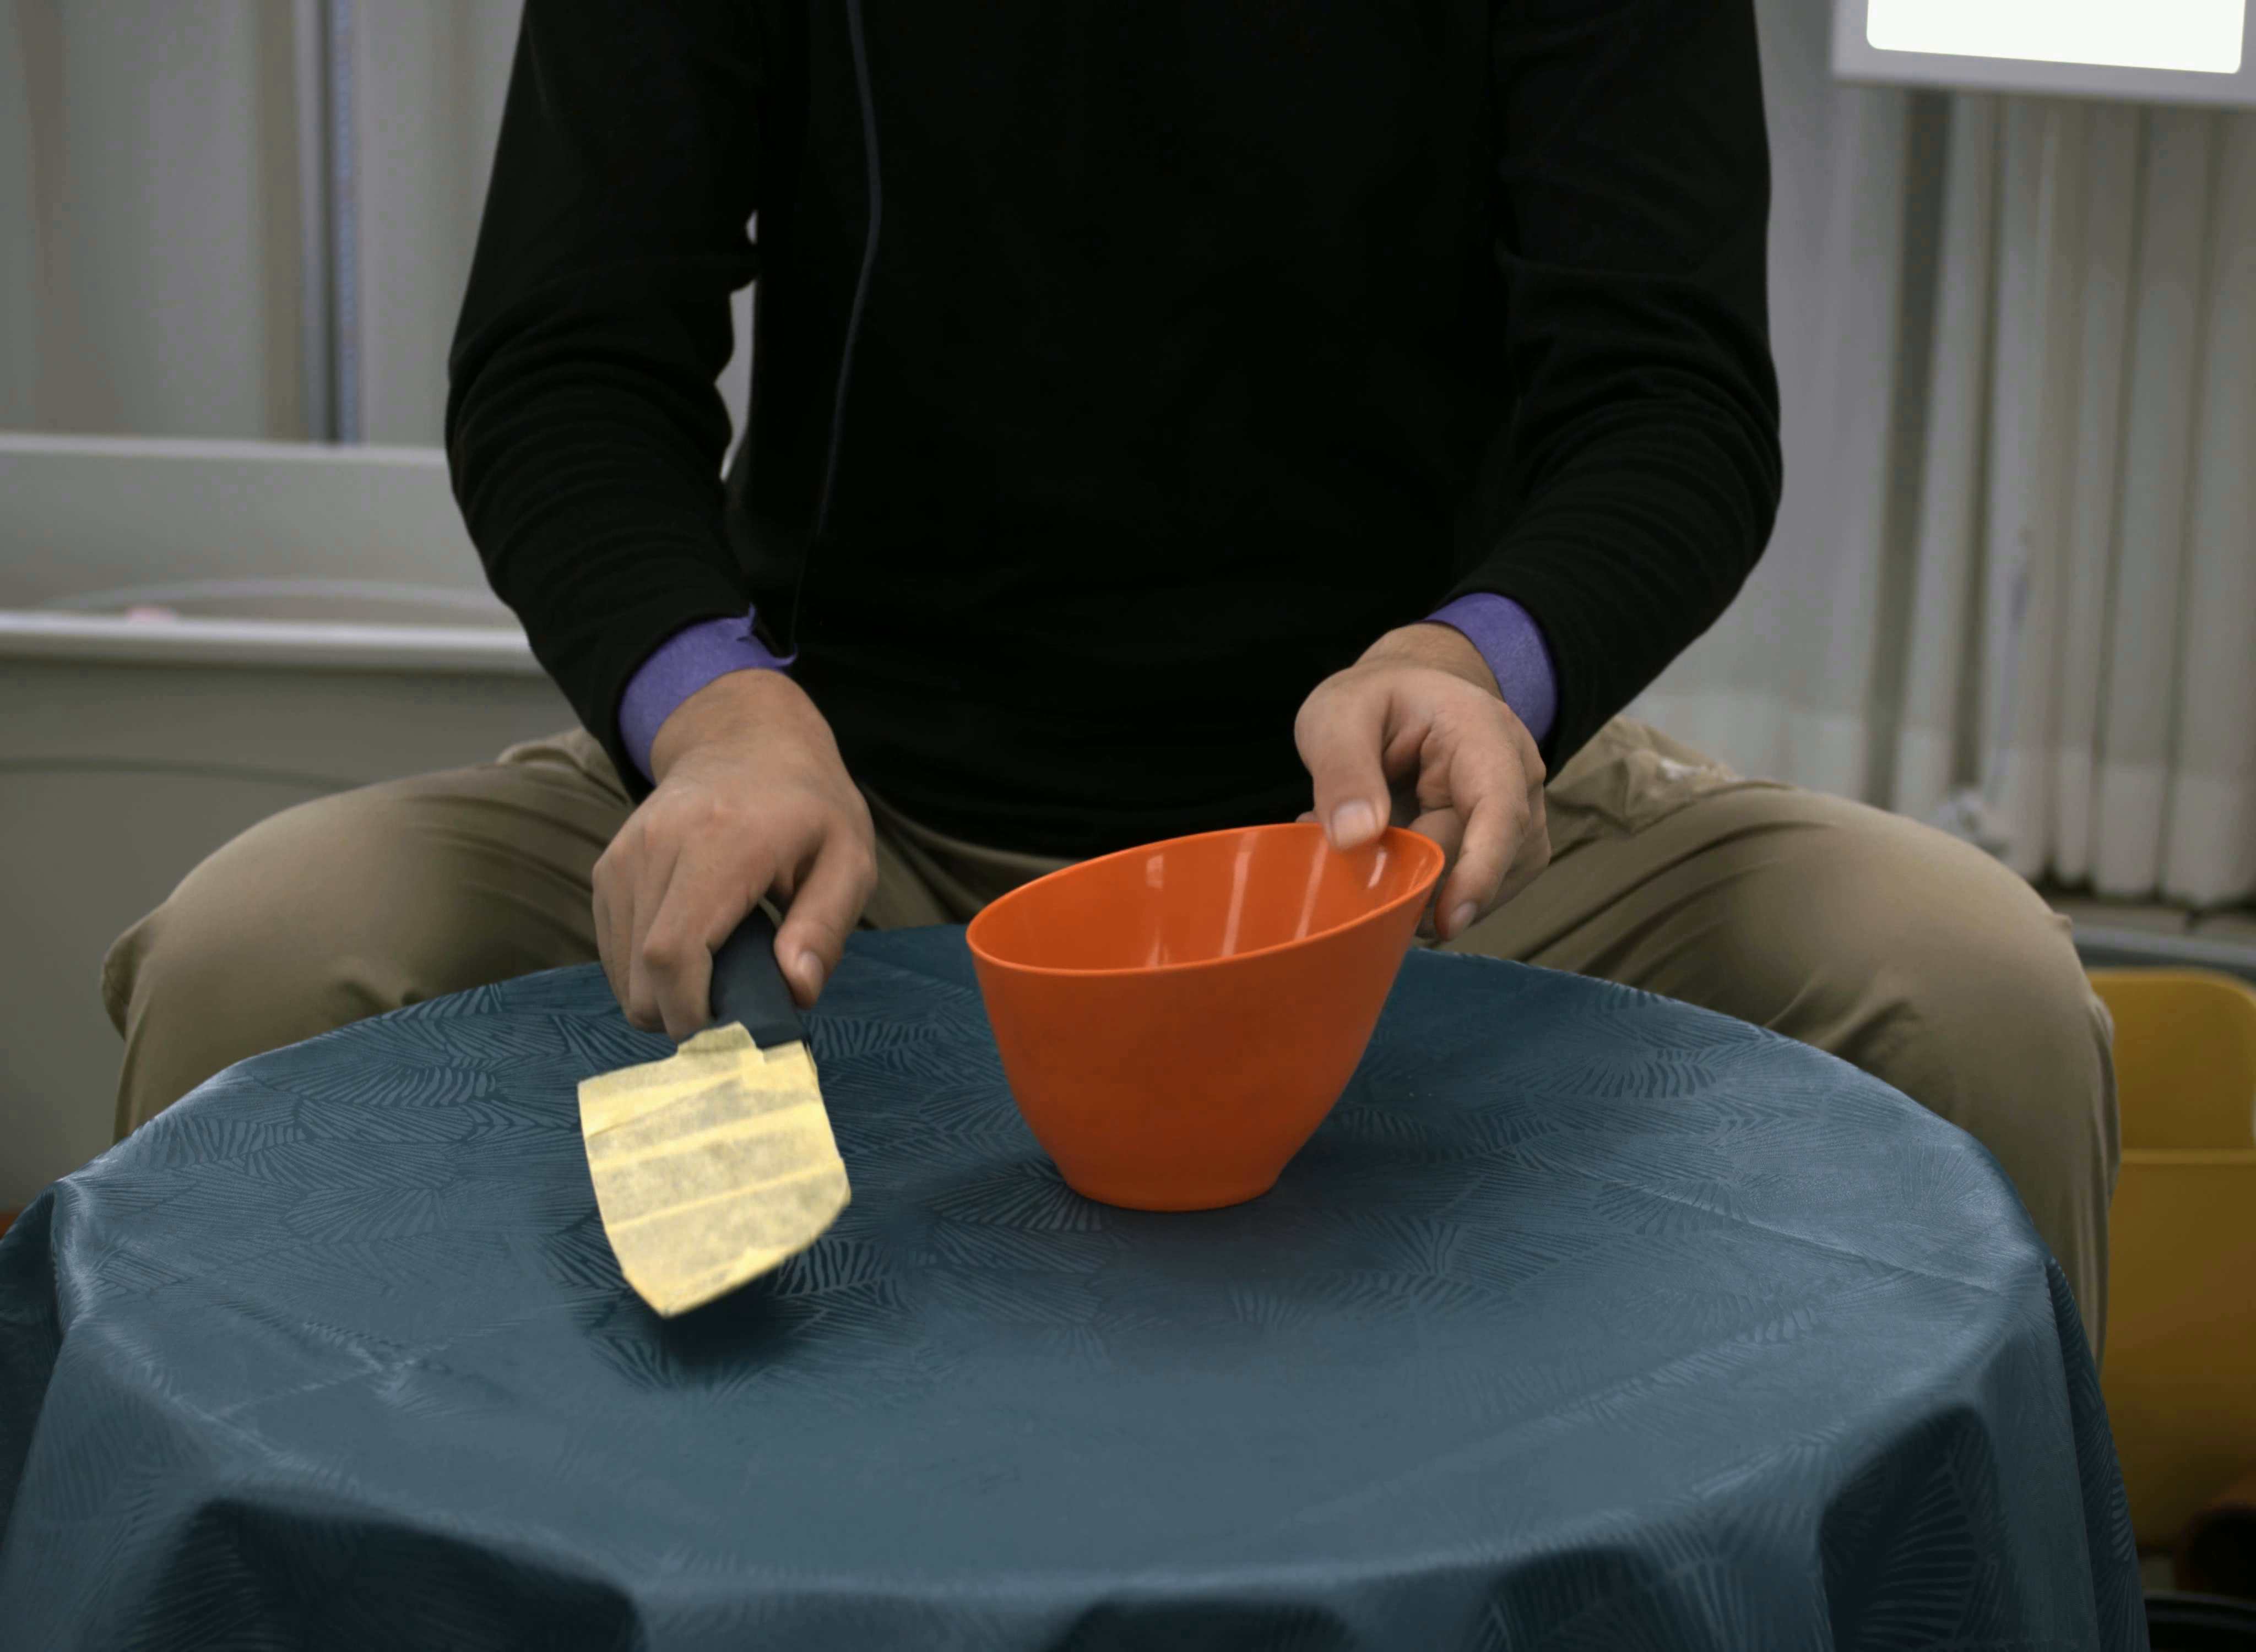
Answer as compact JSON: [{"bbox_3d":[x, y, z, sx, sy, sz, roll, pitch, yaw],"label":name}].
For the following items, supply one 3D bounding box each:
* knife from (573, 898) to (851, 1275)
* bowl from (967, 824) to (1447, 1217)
[{"bbox_3d":[-0.129,0.078,1.602,0.081,0.027,0.287,-12,20,-3],"label":"knife"},{"bbox_3d":[0.024,0.061,1.619,0.147,0.105,0.147,-1,17,1],"label":"bowl"}]
